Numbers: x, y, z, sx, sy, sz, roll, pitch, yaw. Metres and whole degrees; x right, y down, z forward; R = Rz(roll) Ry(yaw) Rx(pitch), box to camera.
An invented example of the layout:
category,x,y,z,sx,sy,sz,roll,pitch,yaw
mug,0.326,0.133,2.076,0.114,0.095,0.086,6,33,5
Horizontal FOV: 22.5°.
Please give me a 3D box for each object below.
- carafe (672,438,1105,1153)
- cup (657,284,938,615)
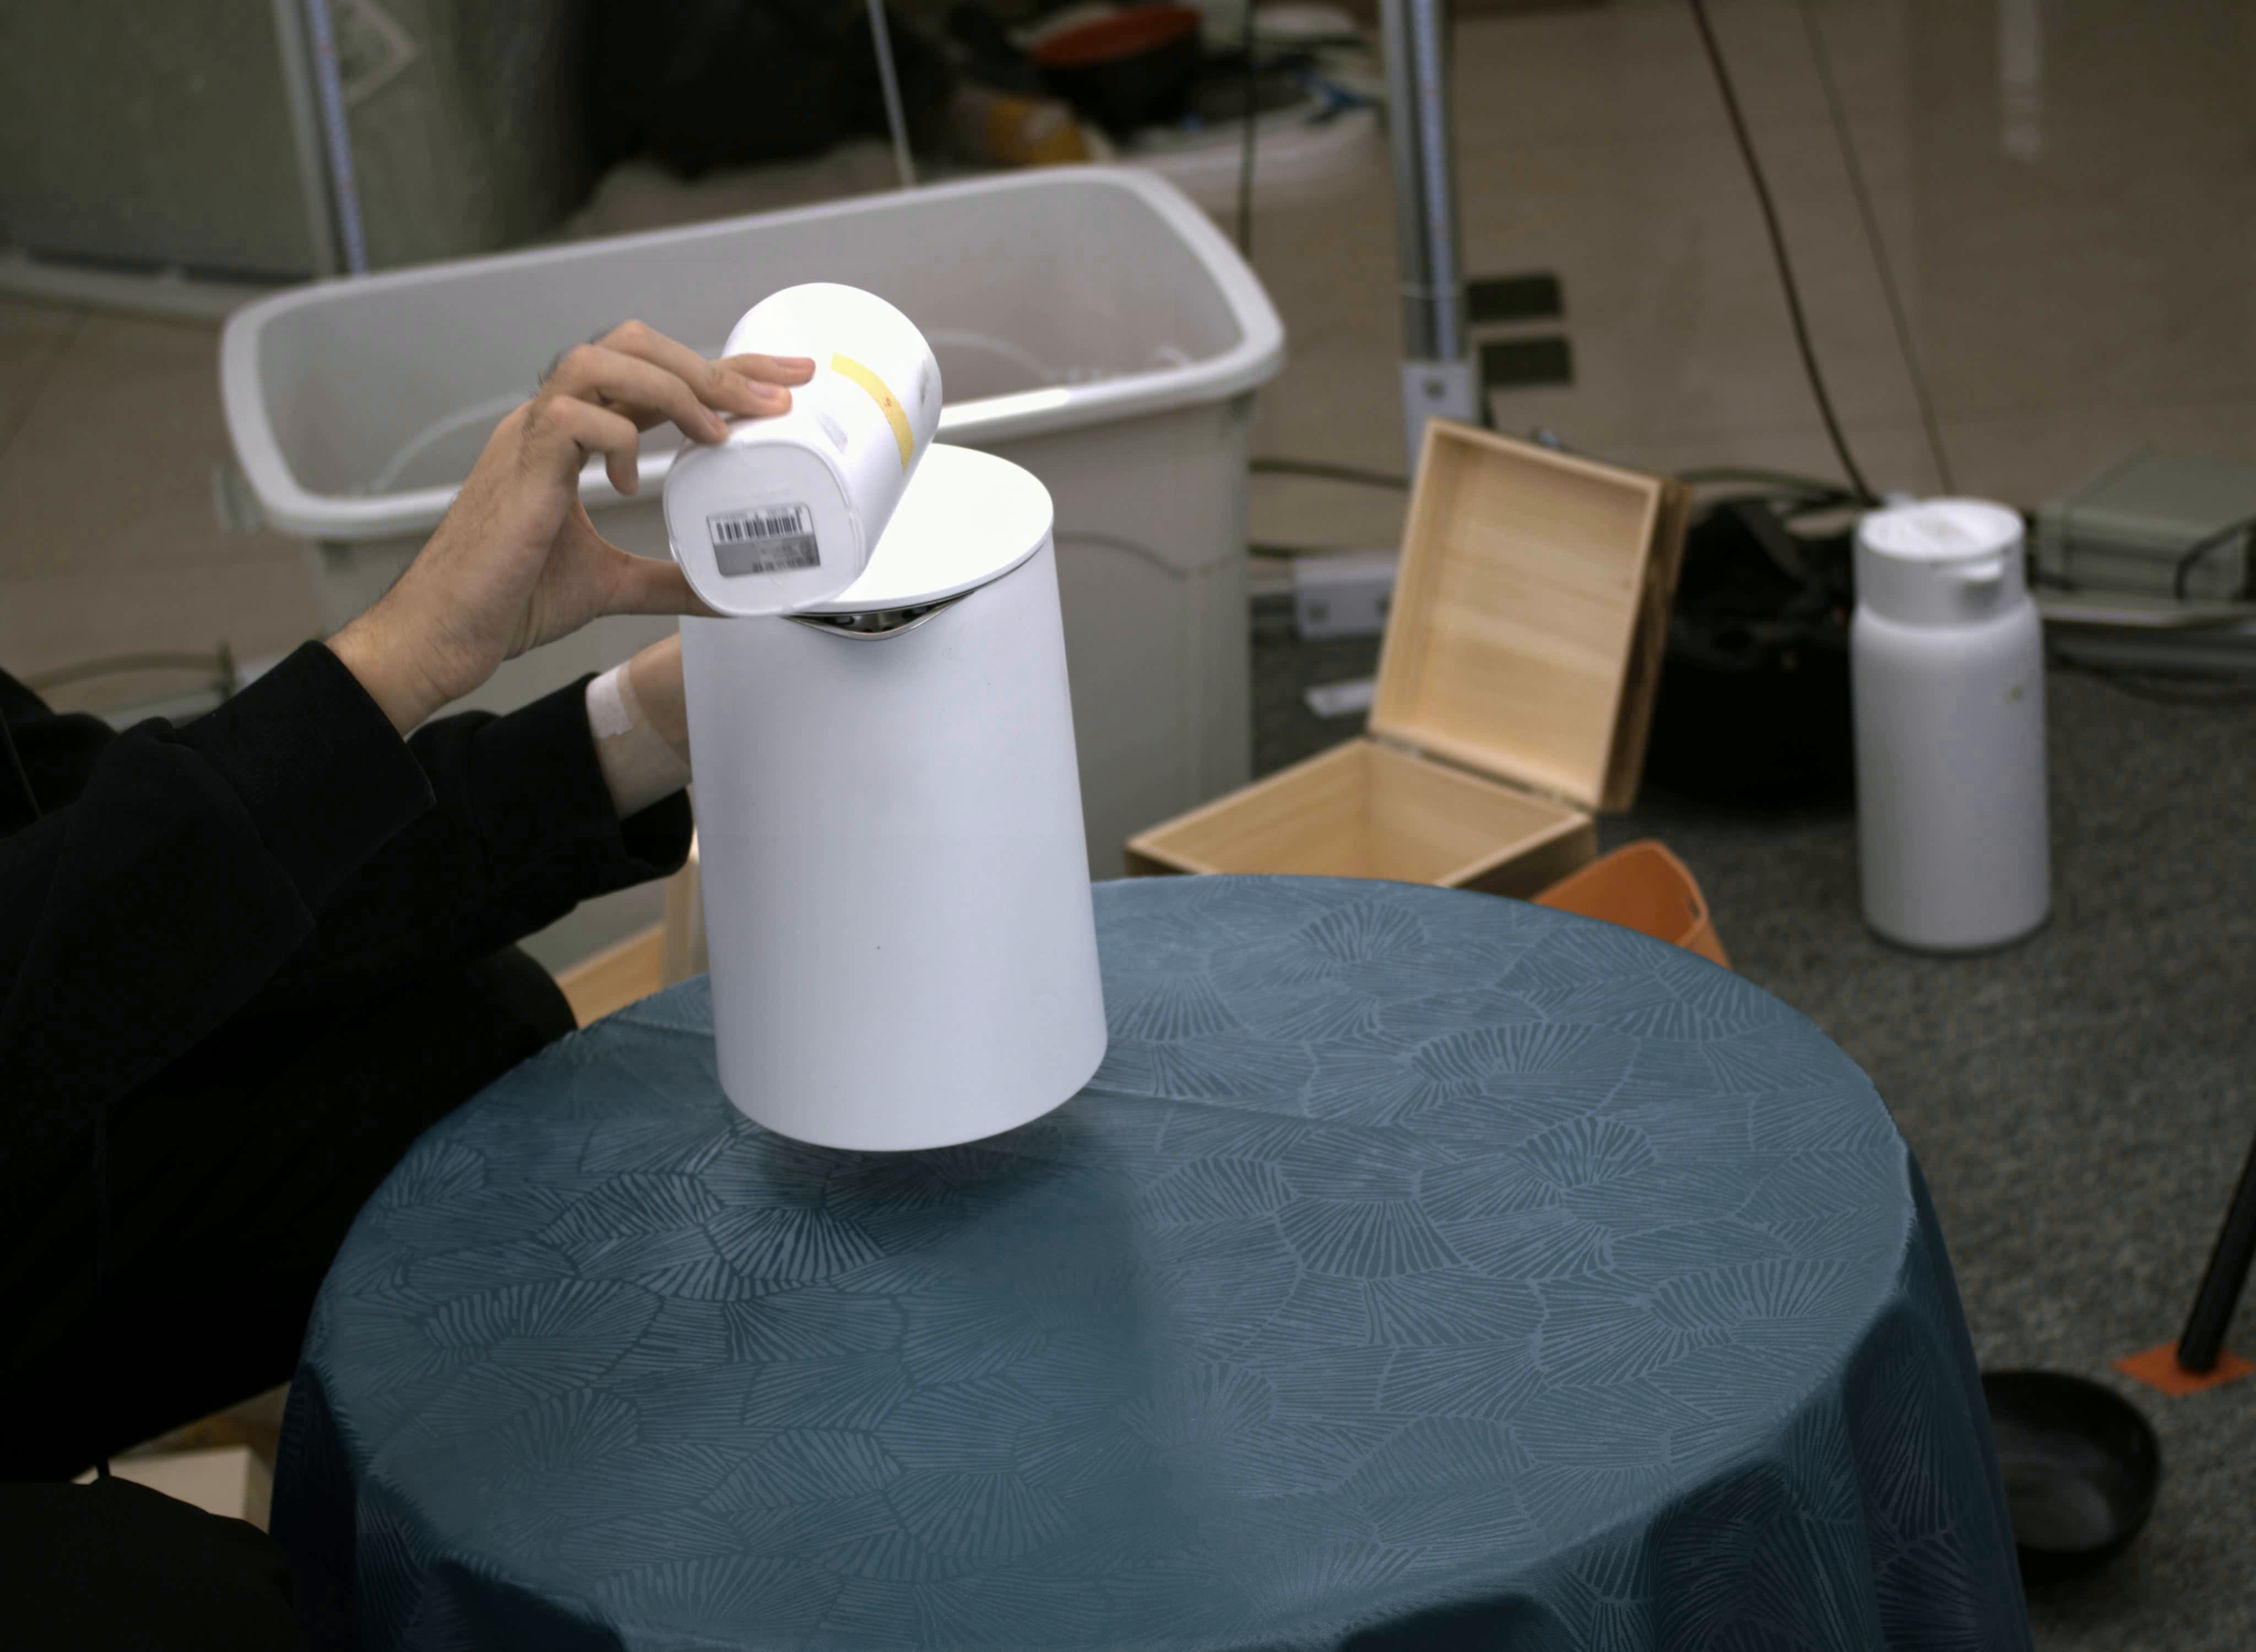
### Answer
category,x,y,z,sx,sy,sz,roll,pitch,yaw
carafe,-0.093,-0.025,2.165,0.152,0.244,0.210,-6,29,-4
cup,-0.115,-0.128,1.945,0.081,0.083,0.123,-2,25,9
